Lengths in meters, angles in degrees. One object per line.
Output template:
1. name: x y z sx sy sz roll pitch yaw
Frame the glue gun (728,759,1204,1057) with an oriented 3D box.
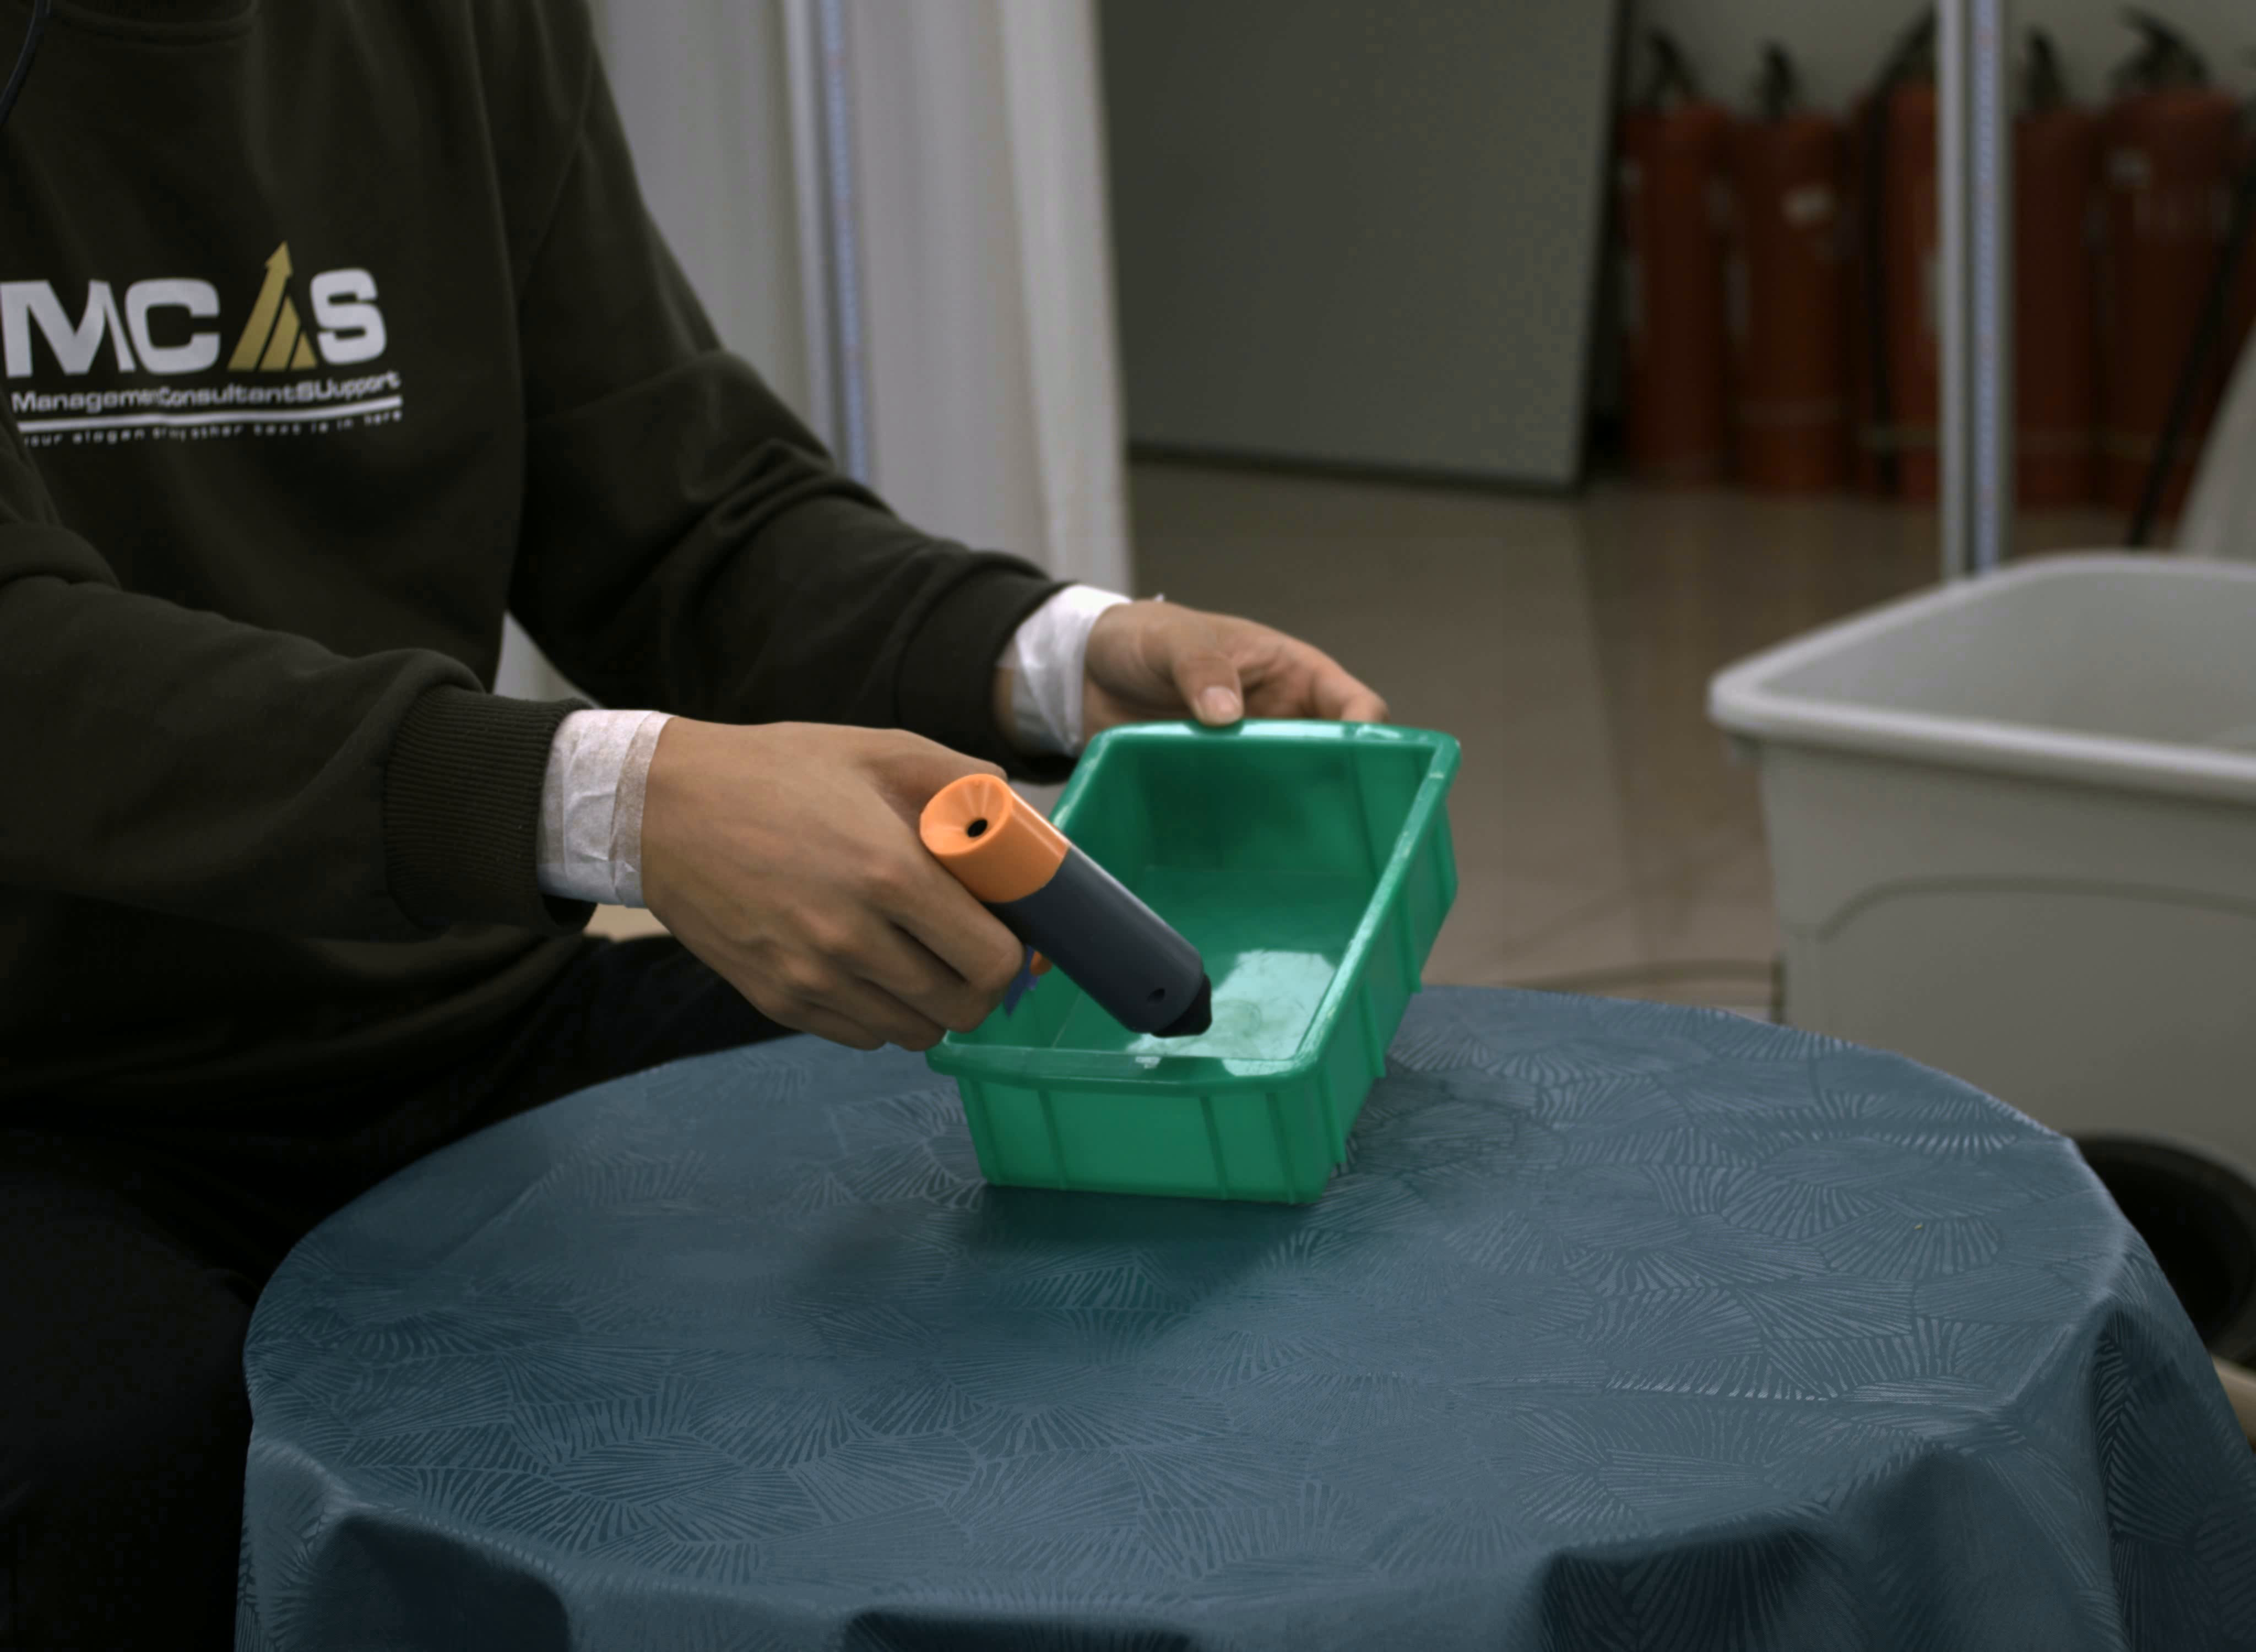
1. glue gun: -0.050 0.030 1.728 0.140 0.117 0.041 1 46 32

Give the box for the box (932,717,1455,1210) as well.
1. box: 0.029 0.048 1.823 0.138 0.065 0.210 -1 36 21
